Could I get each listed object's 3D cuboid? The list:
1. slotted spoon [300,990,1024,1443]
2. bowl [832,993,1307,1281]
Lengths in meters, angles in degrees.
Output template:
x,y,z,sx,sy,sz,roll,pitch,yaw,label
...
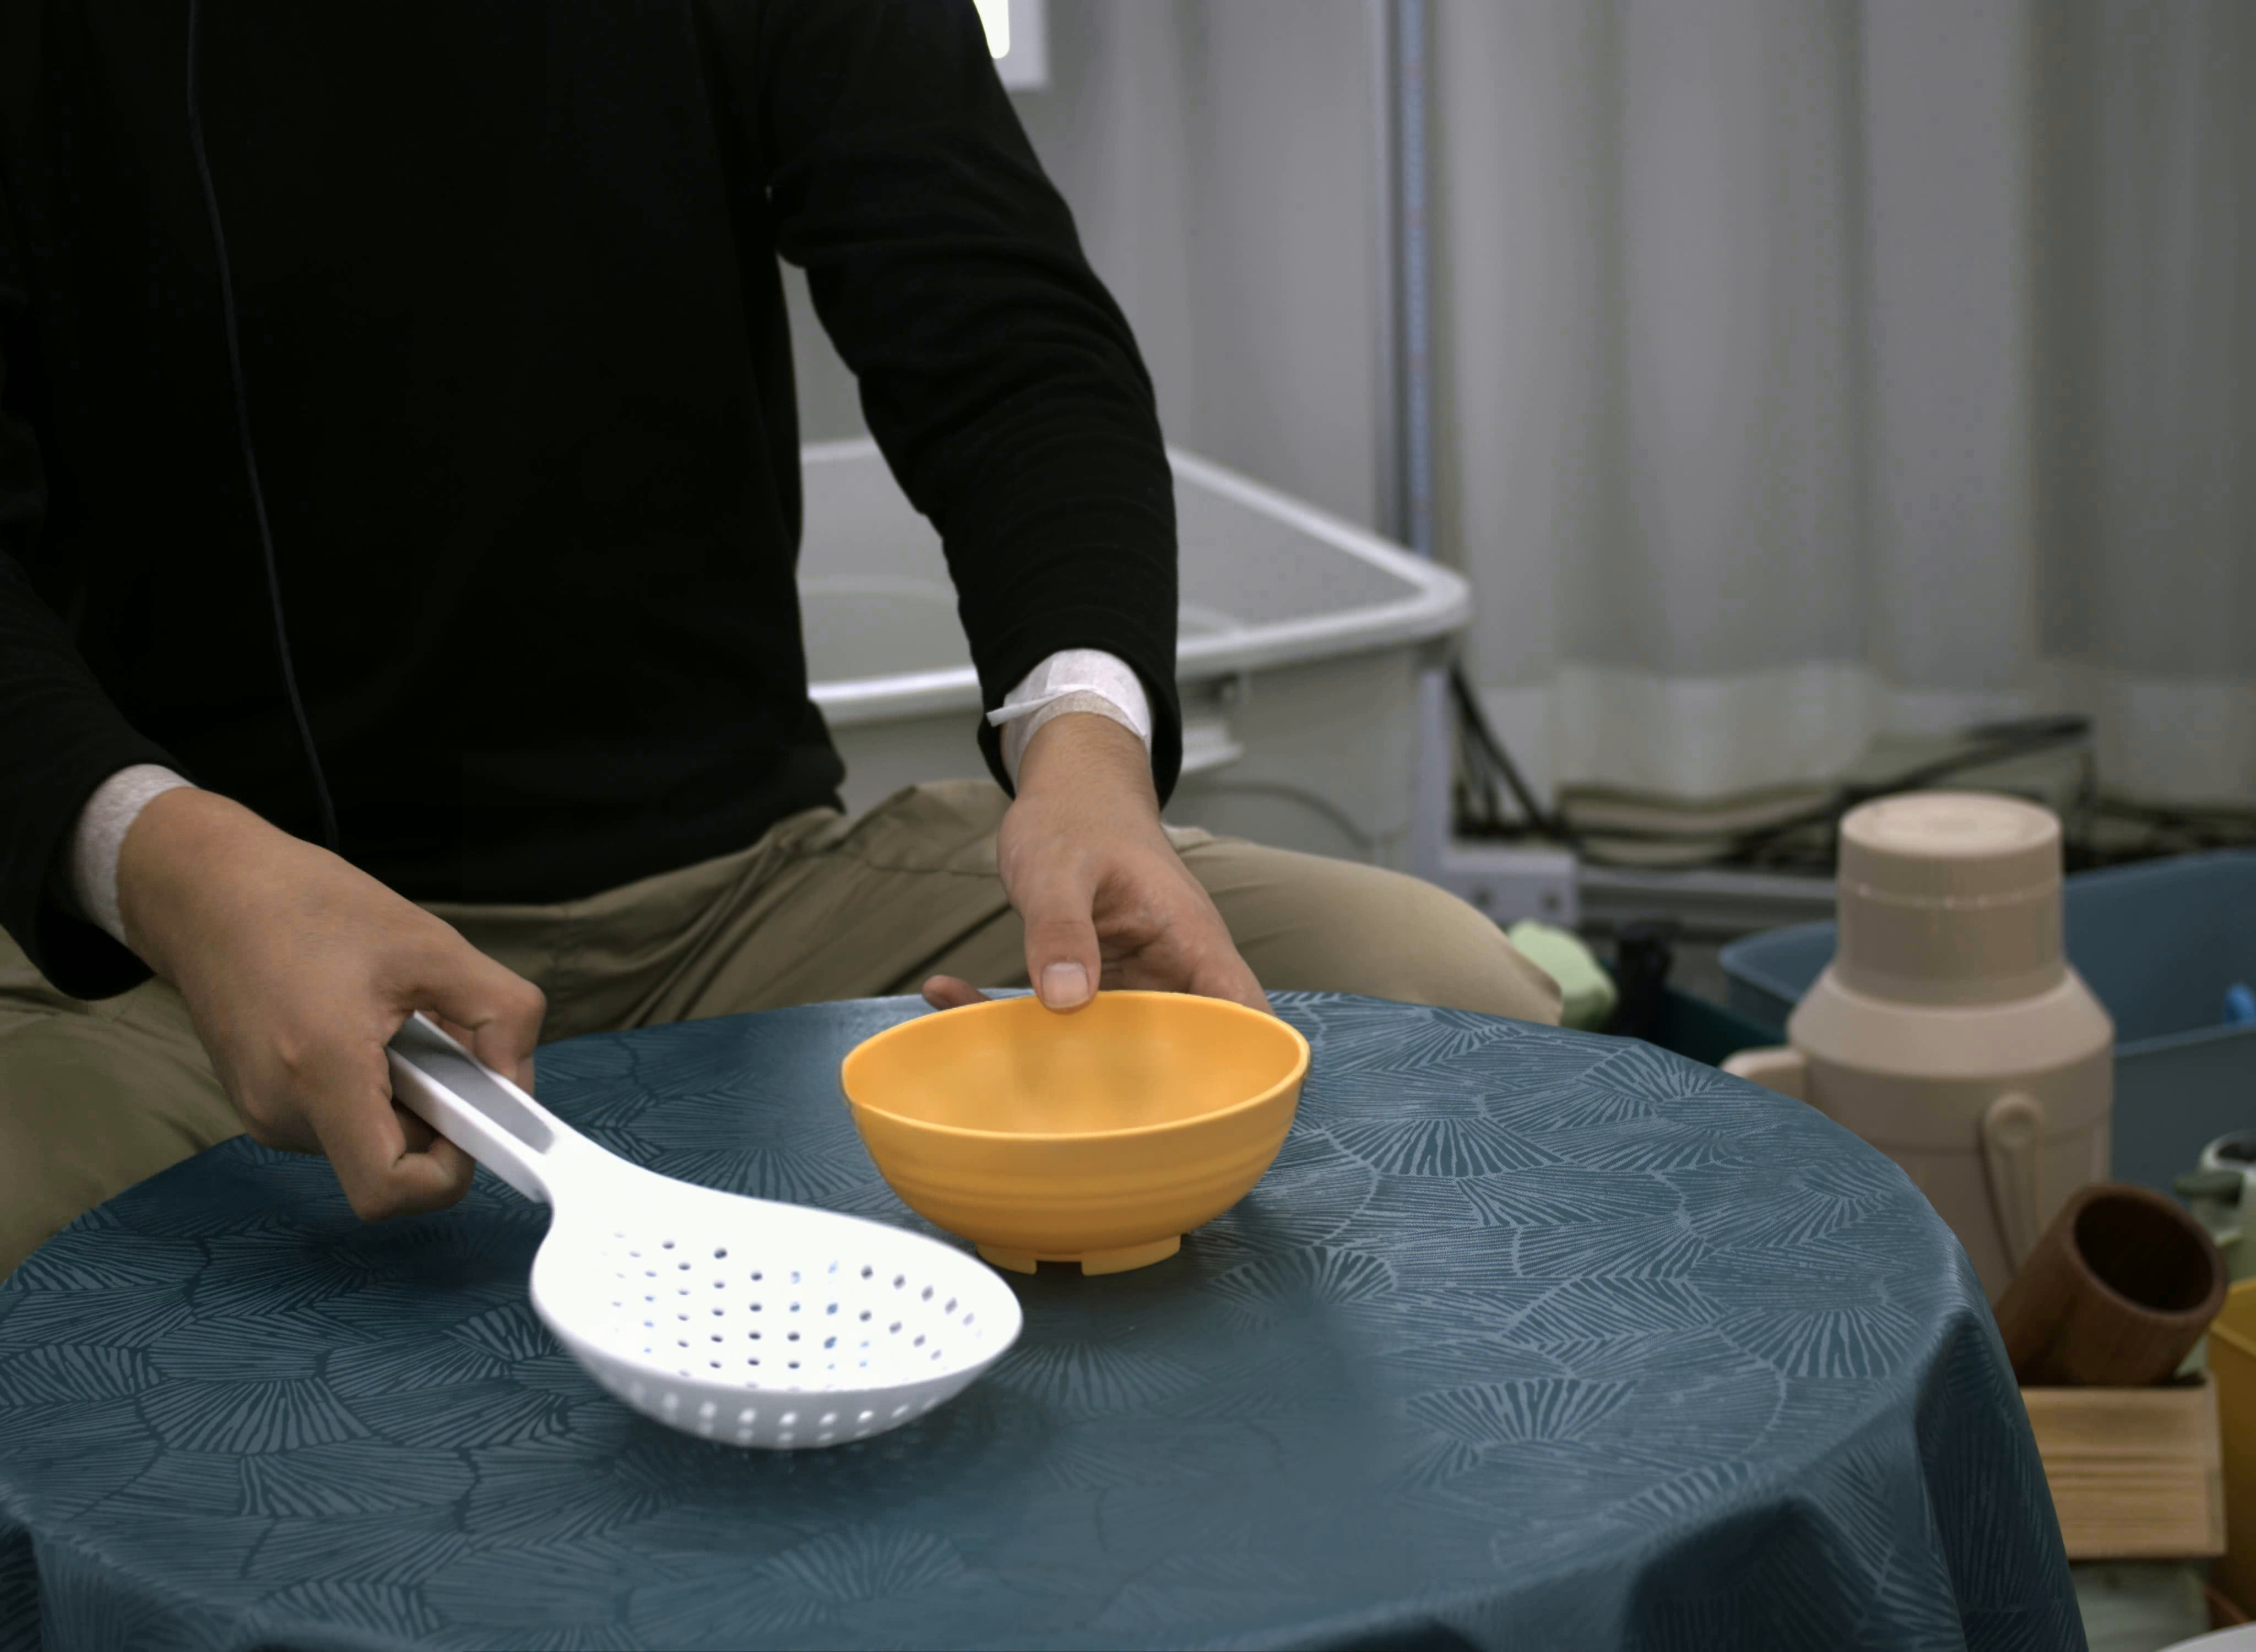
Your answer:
x,y,z,sx,sy,sz,roll,pitch,yaw,label
-0.157,0.107,1.605,0.135,0.045,0.353,-1,21,-35,slotted spoon
-0.017,0.100,1.665,0.145,0.060,0.146,-1,15,0,bowl
